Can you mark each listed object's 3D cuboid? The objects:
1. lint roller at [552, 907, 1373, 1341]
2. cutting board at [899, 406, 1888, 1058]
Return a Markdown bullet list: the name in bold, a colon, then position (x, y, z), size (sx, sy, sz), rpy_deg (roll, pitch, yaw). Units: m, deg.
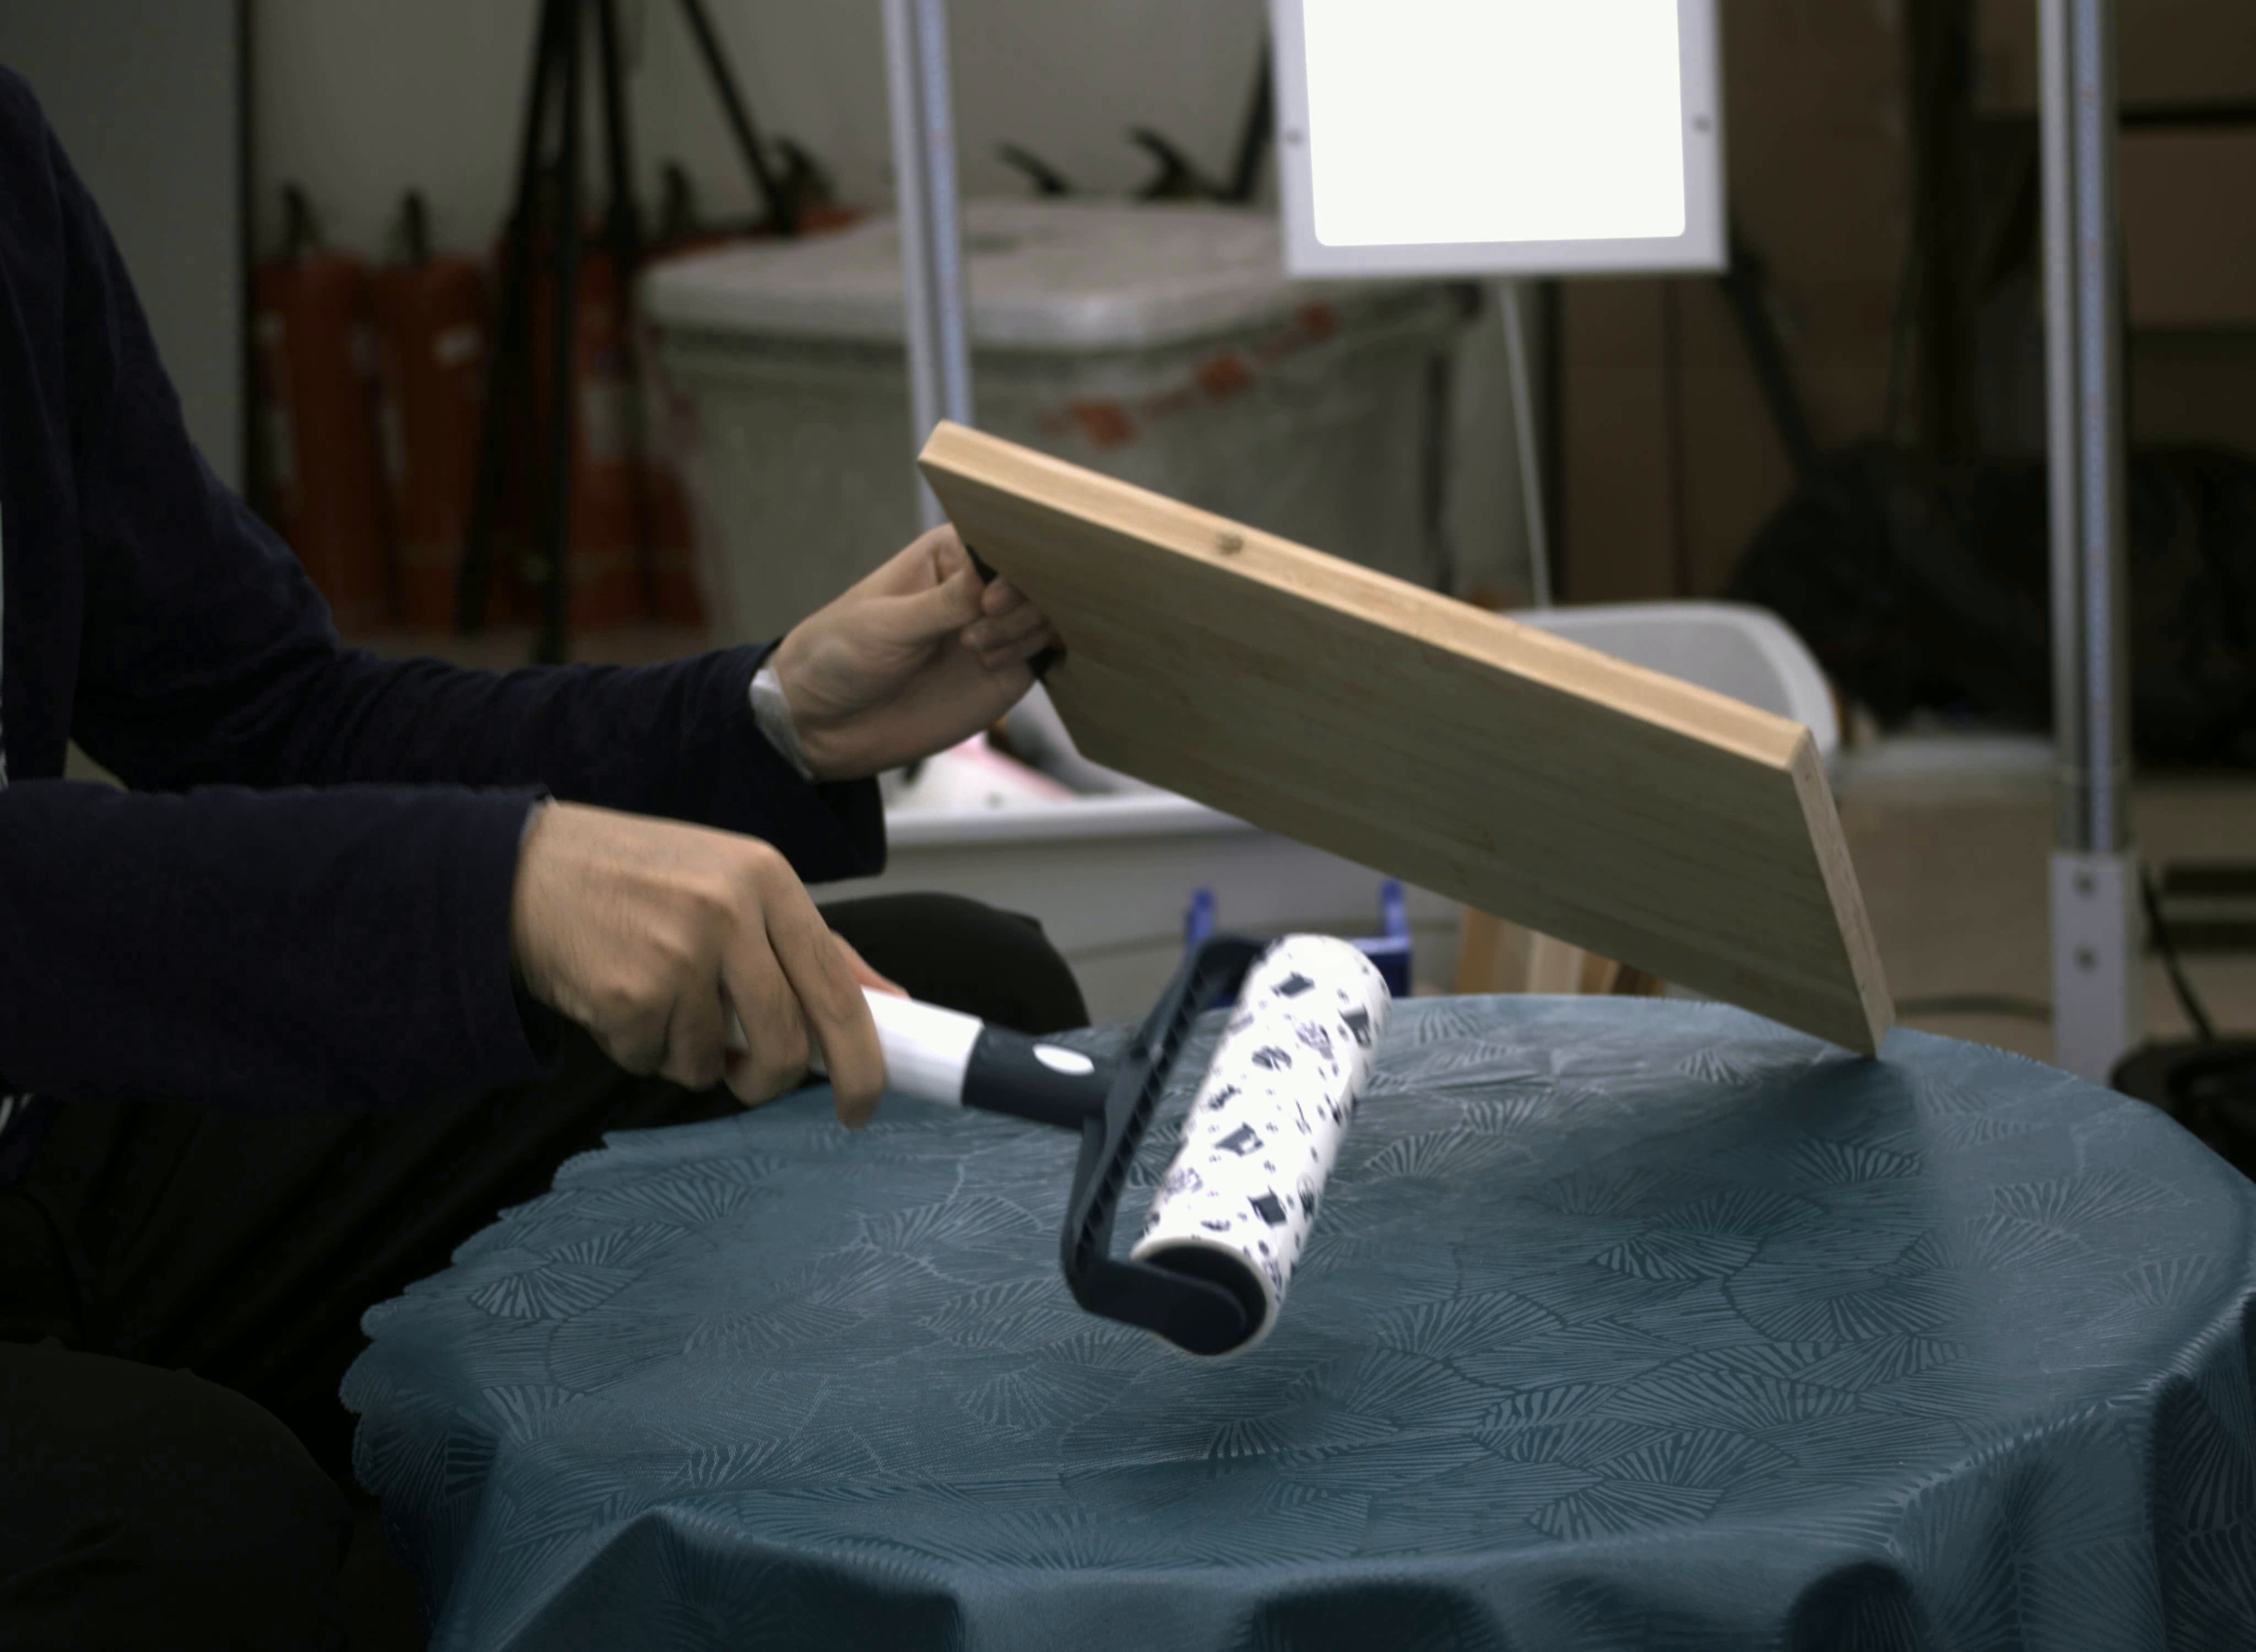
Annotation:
- **lint roller**: position (-0.059, 0.066, 1.699), size (0.248, 0.051, 0.174), rpy_deg (14, 38, 8)
- **cutting board**: position (0.097, -0.033, 1.957), size (0.353, 0.023, 0.249), rpy_deg (21, -20, 25)
